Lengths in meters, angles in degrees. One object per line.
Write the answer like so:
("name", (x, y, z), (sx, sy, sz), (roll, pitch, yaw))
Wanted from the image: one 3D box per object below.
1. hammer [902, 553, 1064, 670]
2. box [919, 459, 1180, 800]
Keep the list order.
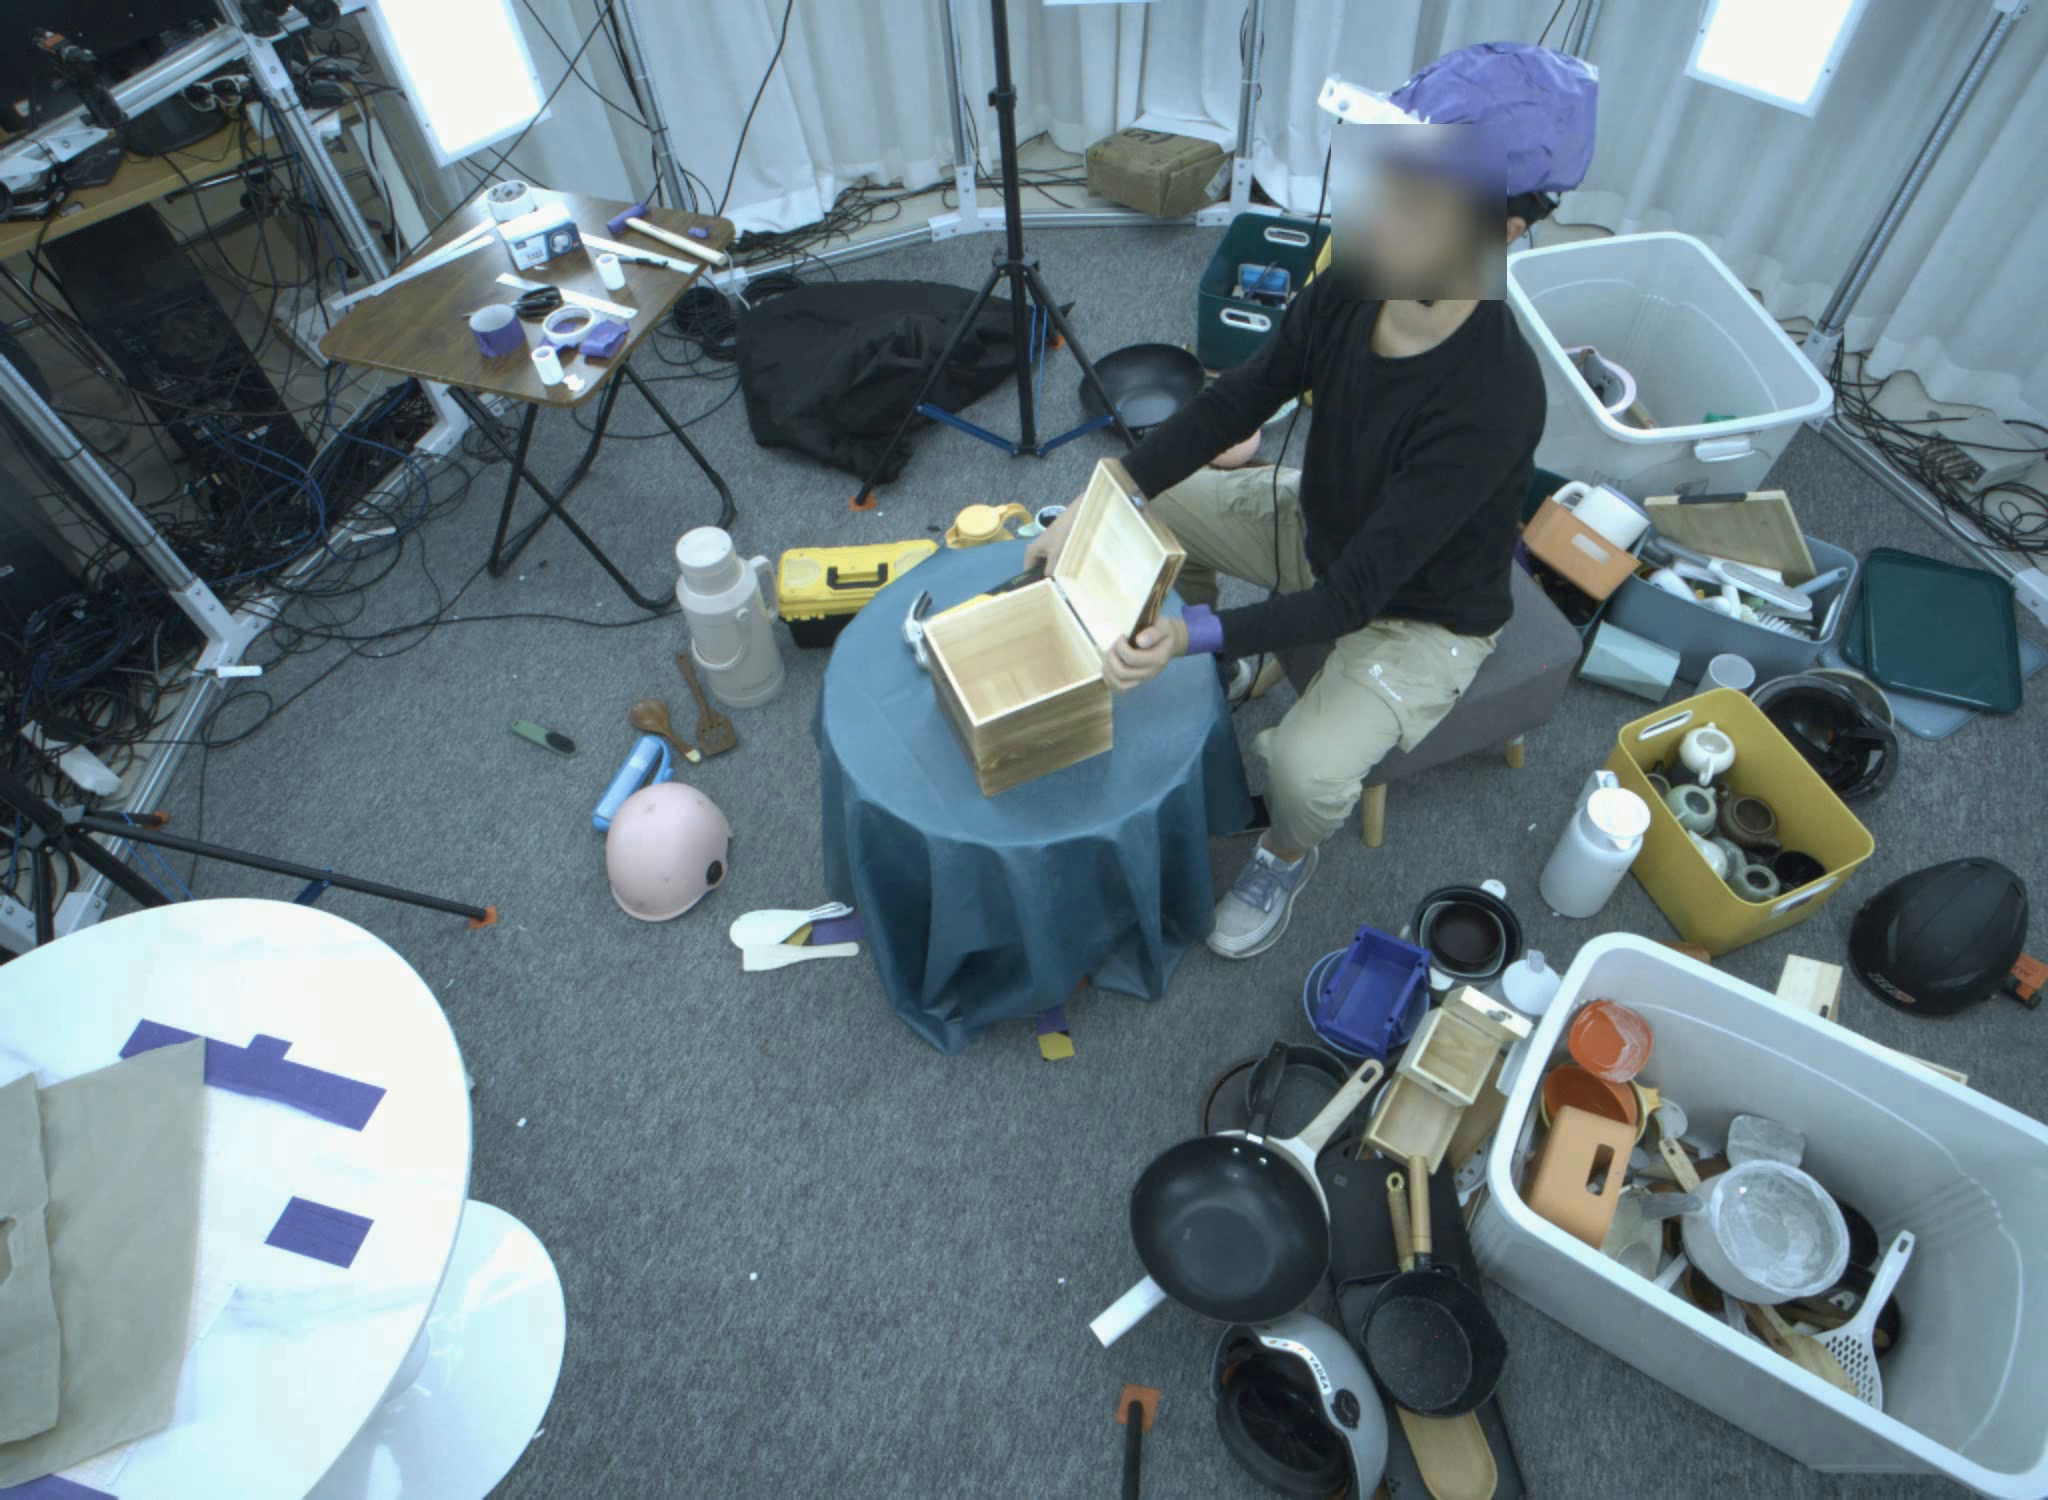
("hammer", (-0.032, -0.244, 1.891), (0.338, 0.033, 0.129), (-24, 55, 3))
("box", (0.031, -0.164, 1.679), (0.324, 0.379, 0.205), (-21, 55, -13))
